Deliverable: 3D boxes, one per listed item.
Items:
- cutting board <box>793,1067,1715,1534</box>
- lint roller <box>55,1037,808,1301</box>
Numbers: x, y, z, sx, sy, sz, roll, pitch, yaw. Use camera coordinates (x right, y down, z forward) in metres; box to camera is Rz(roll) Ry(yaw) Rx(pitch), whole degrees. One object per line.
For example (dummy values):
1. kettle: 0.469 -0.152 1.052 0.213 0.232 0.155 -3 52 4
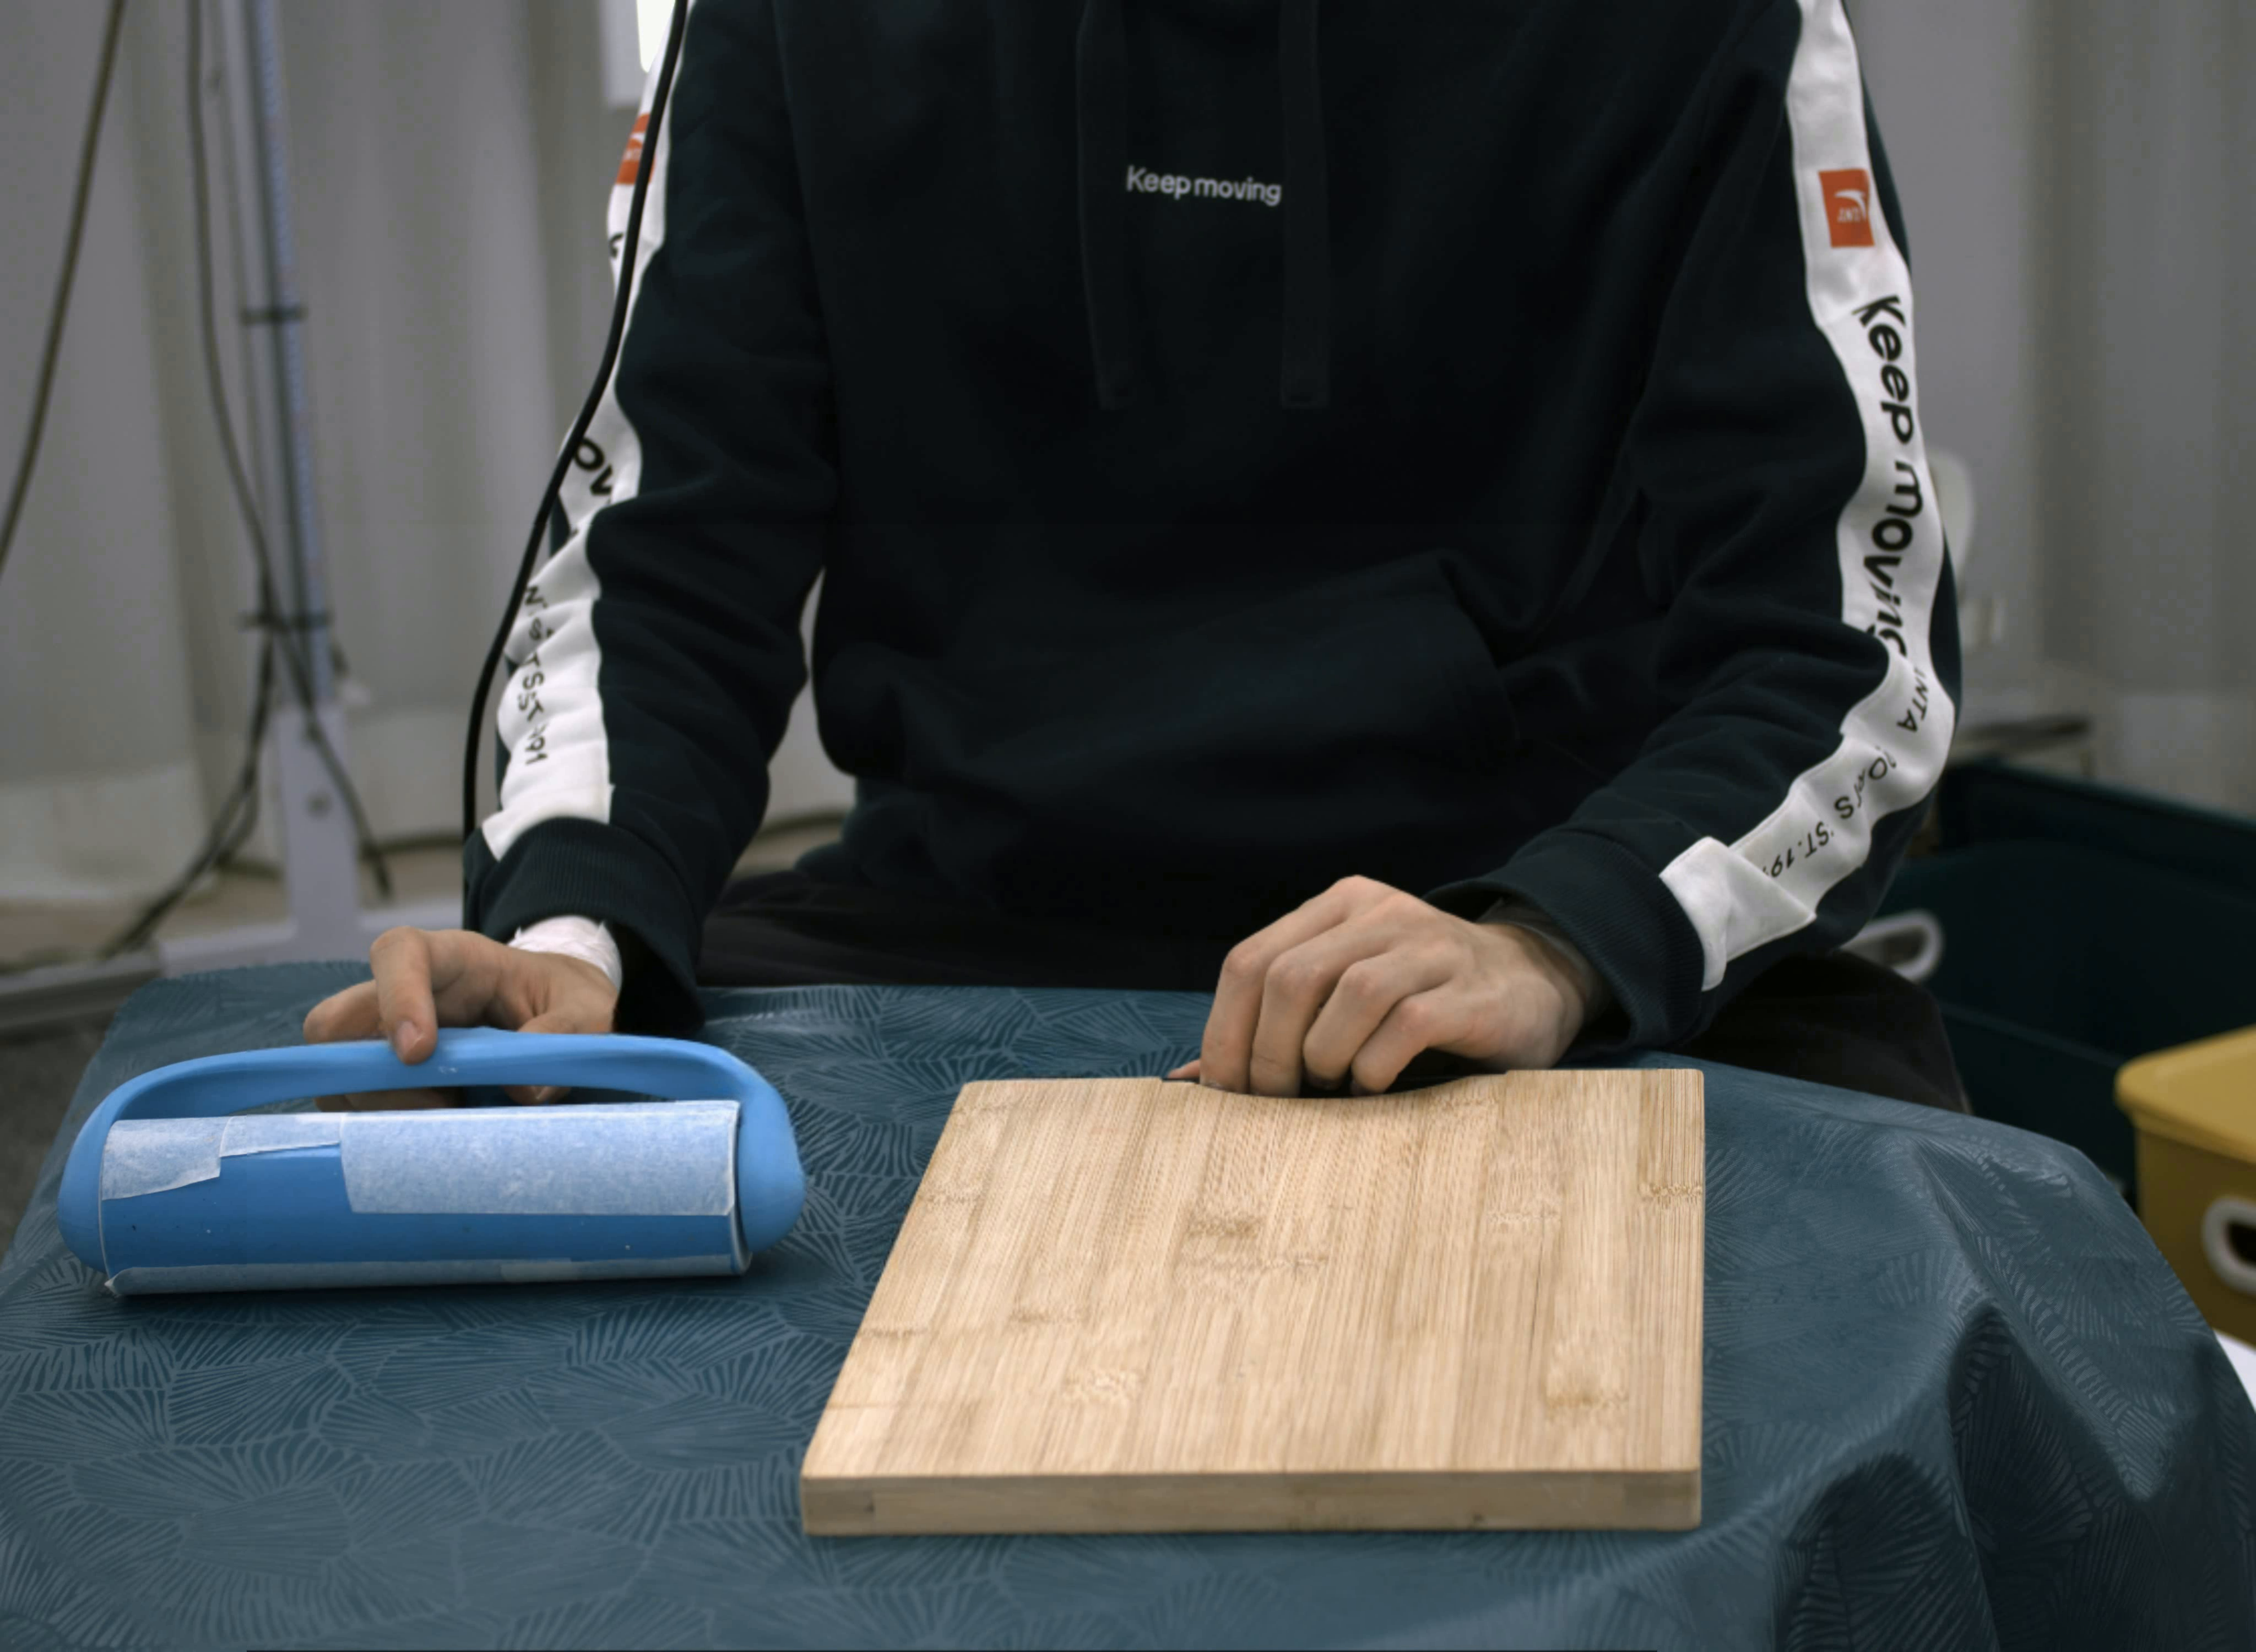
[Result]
1. cutting board: 0.049 0.134 1.602 0.250 0.023 0.351 -1 15 6
2. lint roller: -0.211 0.097 1.714 0.228 0.067 0.181 -4 15 1
